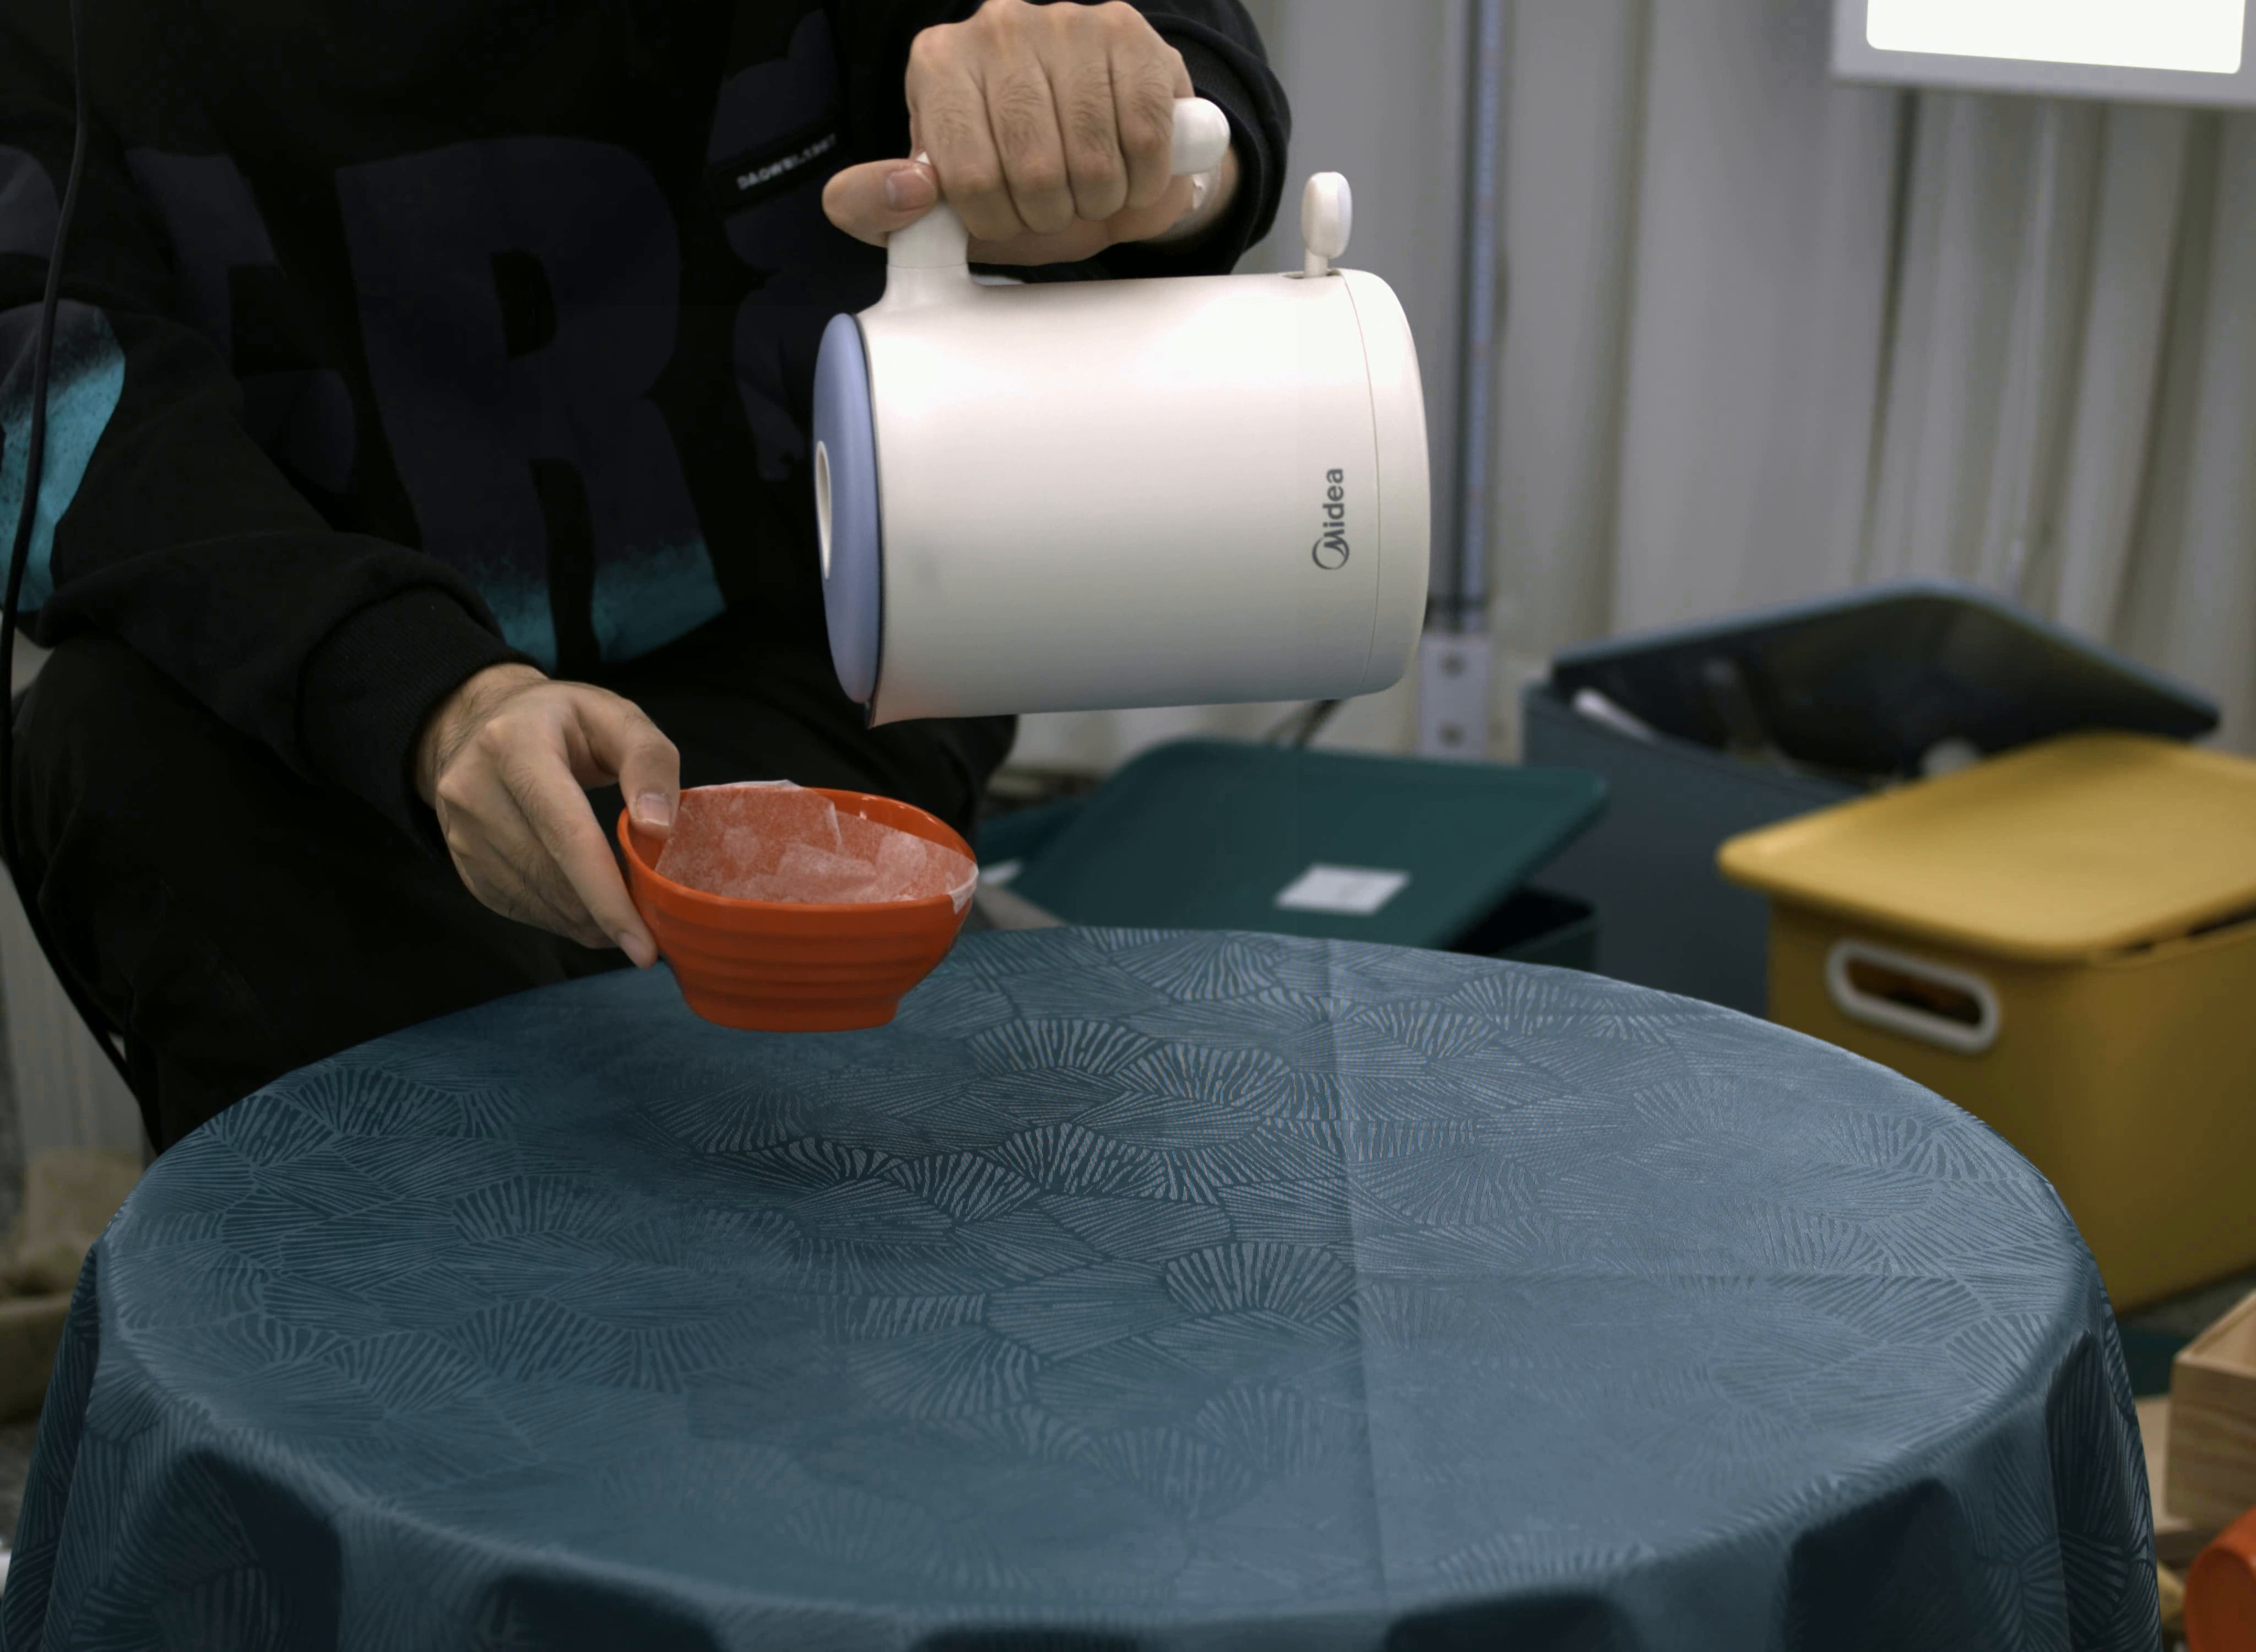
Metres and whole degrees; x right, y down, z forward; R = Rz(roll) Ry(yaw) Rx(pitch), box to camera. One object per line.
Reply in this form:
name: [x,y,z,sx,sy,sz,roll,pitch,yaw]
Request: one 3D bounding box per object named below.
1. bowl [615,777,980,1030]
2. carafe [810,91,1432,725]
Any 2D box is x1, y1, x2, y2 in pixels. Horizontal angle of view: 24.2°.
bowl: [-0.104,0.027,1.625,0.118,0.052,0.118,5,21,-1]
carafe: [-0.003,-0.126,1.591,0.182,0.192,0.131,-1,11,-10]
